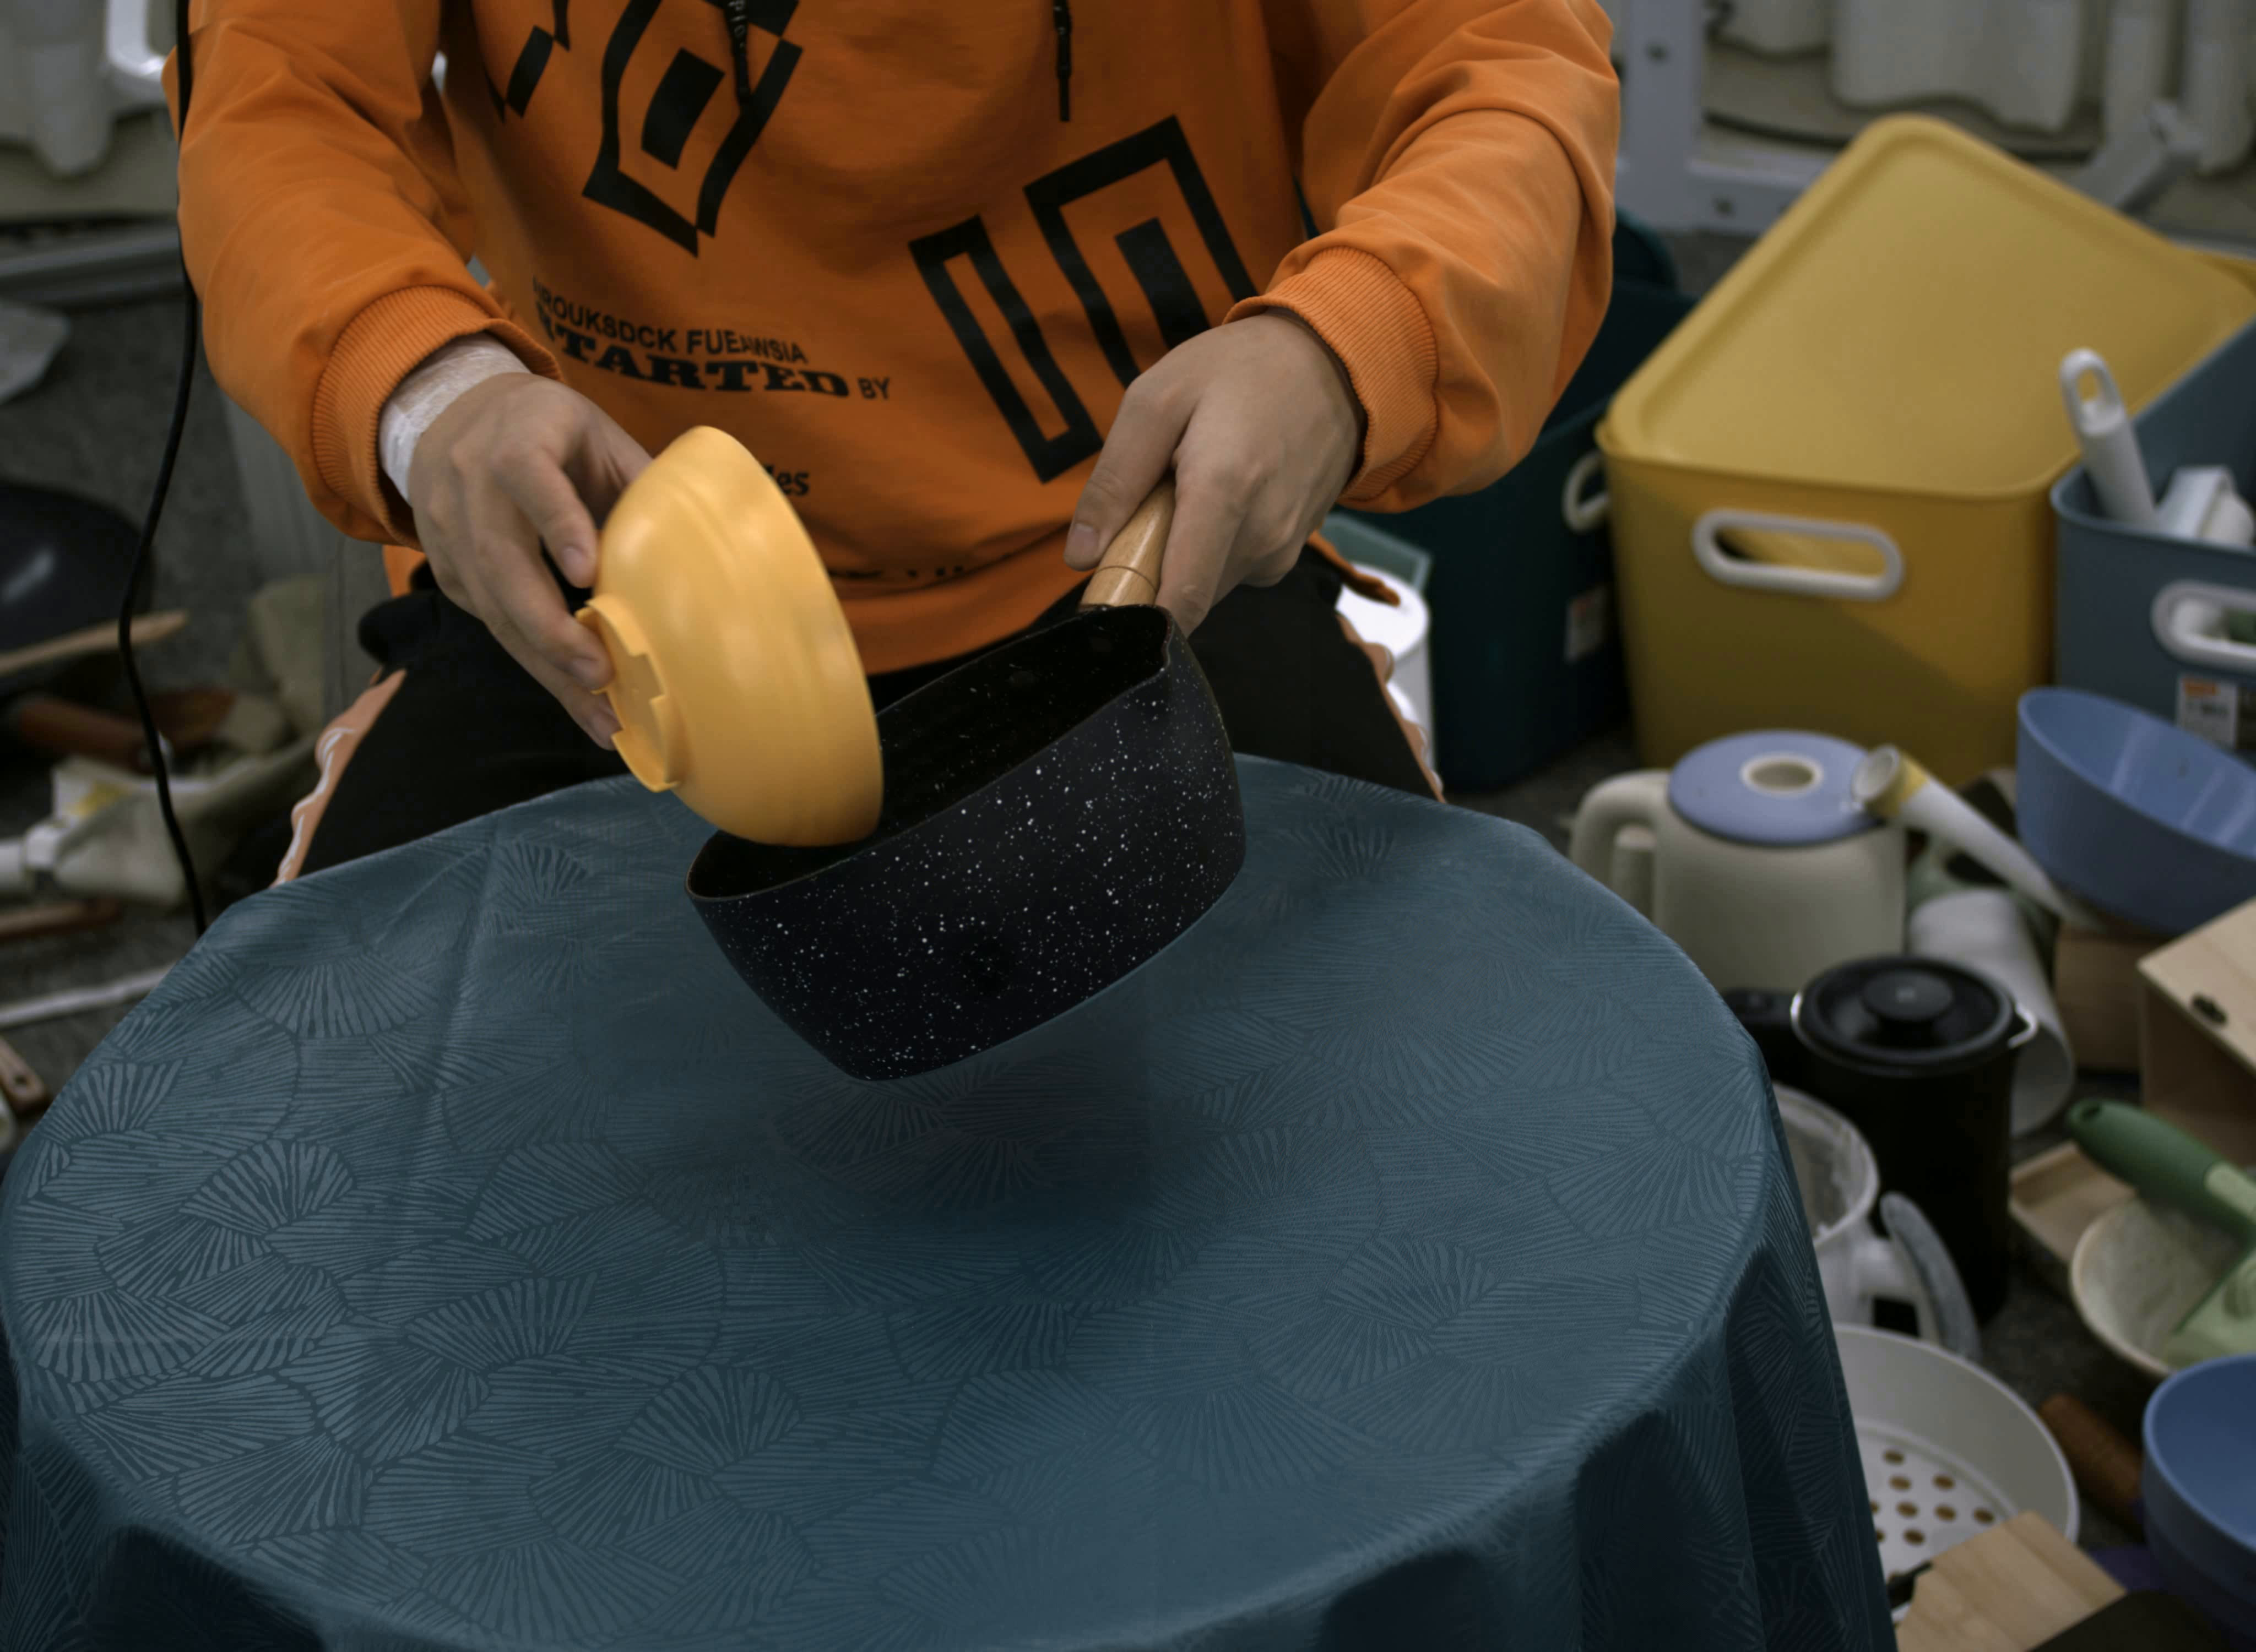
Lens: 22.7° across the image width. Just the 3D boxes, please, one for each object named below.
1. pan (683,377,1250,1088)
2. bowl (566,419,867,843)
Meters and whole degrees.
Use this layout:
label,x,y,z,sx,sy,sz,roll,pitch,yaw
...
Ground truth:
label,x,y,z,sx,sy,sz,roll,pitch,yaw
pan,-0.019,-0.036,1.913,0.204,0.108,0.349,-21,17,34
bowl,-0.141,-0.054,1.821,0.060,0.144,0.146,-22,32,-19
